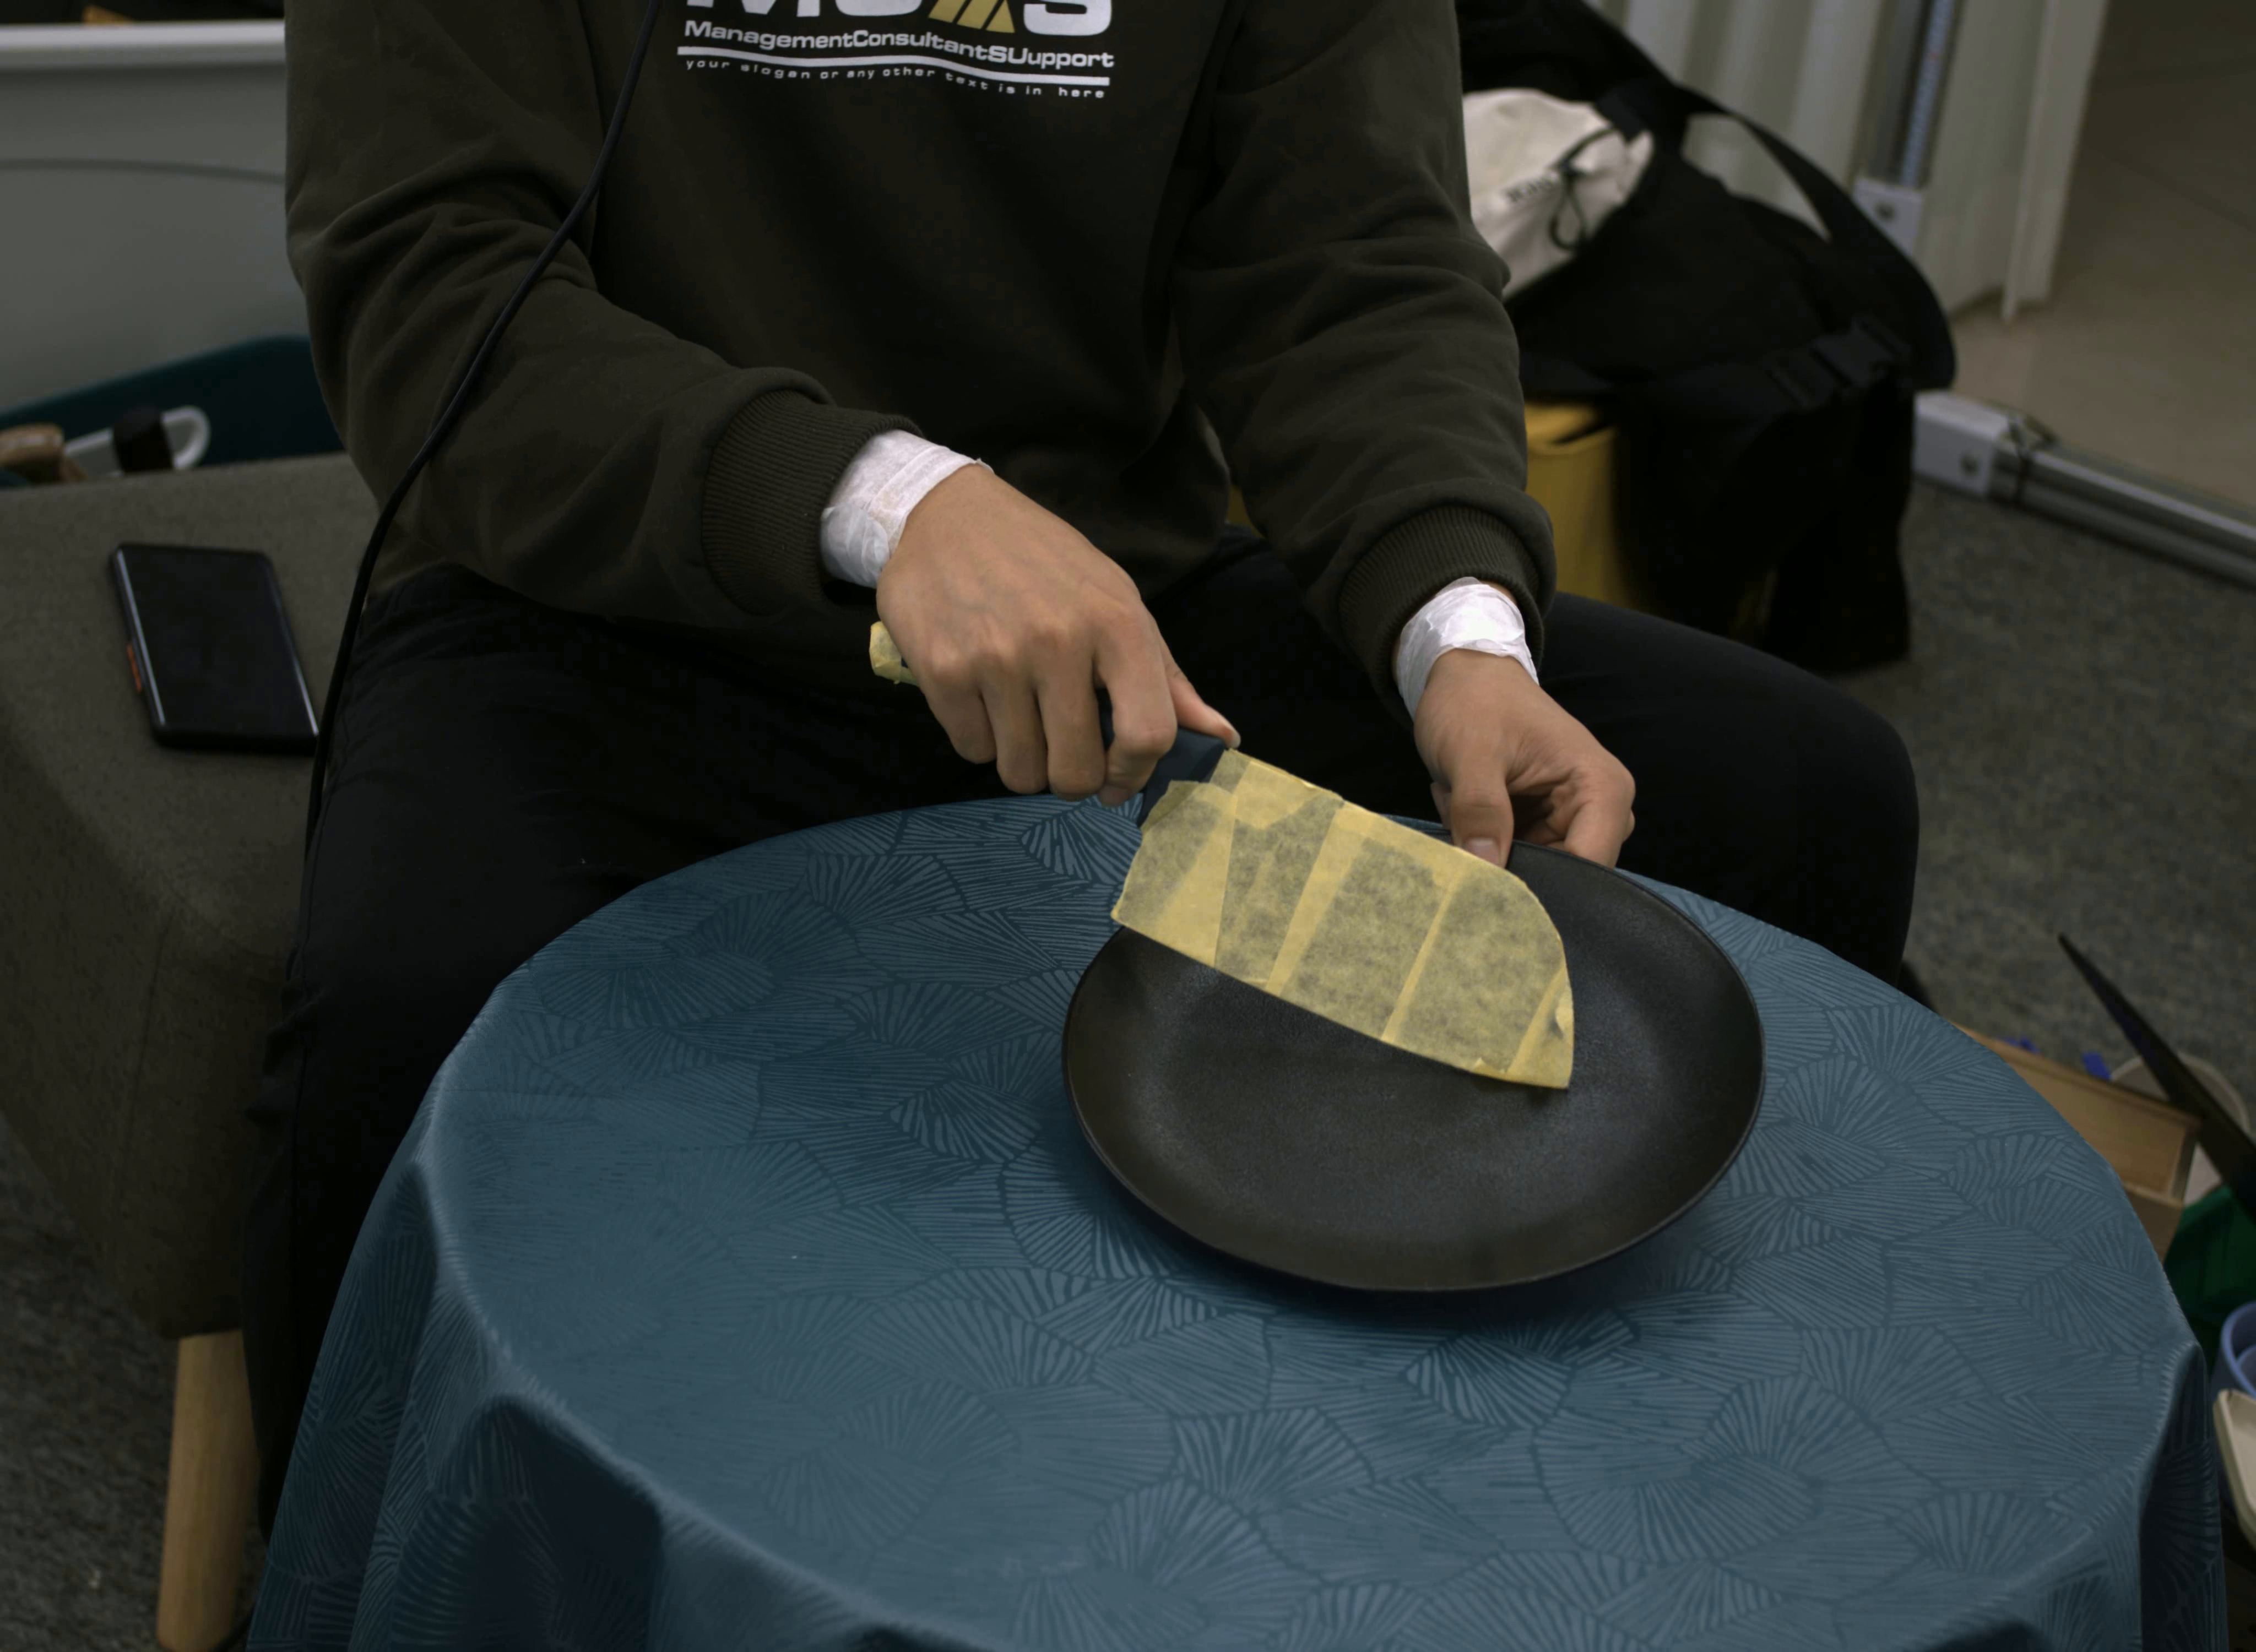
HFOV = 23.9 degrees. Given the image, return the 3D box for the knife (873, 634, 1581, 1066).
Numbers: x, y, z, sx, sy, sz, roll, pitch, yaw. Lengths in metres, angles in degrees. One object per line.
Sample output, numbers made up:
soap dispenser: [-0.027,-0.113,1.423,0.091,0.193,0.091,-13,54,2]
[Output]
knife: [0.030,0.007,1.867,0.290,0.081,0.027,27,-2,16]

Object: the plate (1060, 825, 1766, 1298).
plate: [0.098,0.084,1.835,0.244,0.023,0.246,-1,39,1]
